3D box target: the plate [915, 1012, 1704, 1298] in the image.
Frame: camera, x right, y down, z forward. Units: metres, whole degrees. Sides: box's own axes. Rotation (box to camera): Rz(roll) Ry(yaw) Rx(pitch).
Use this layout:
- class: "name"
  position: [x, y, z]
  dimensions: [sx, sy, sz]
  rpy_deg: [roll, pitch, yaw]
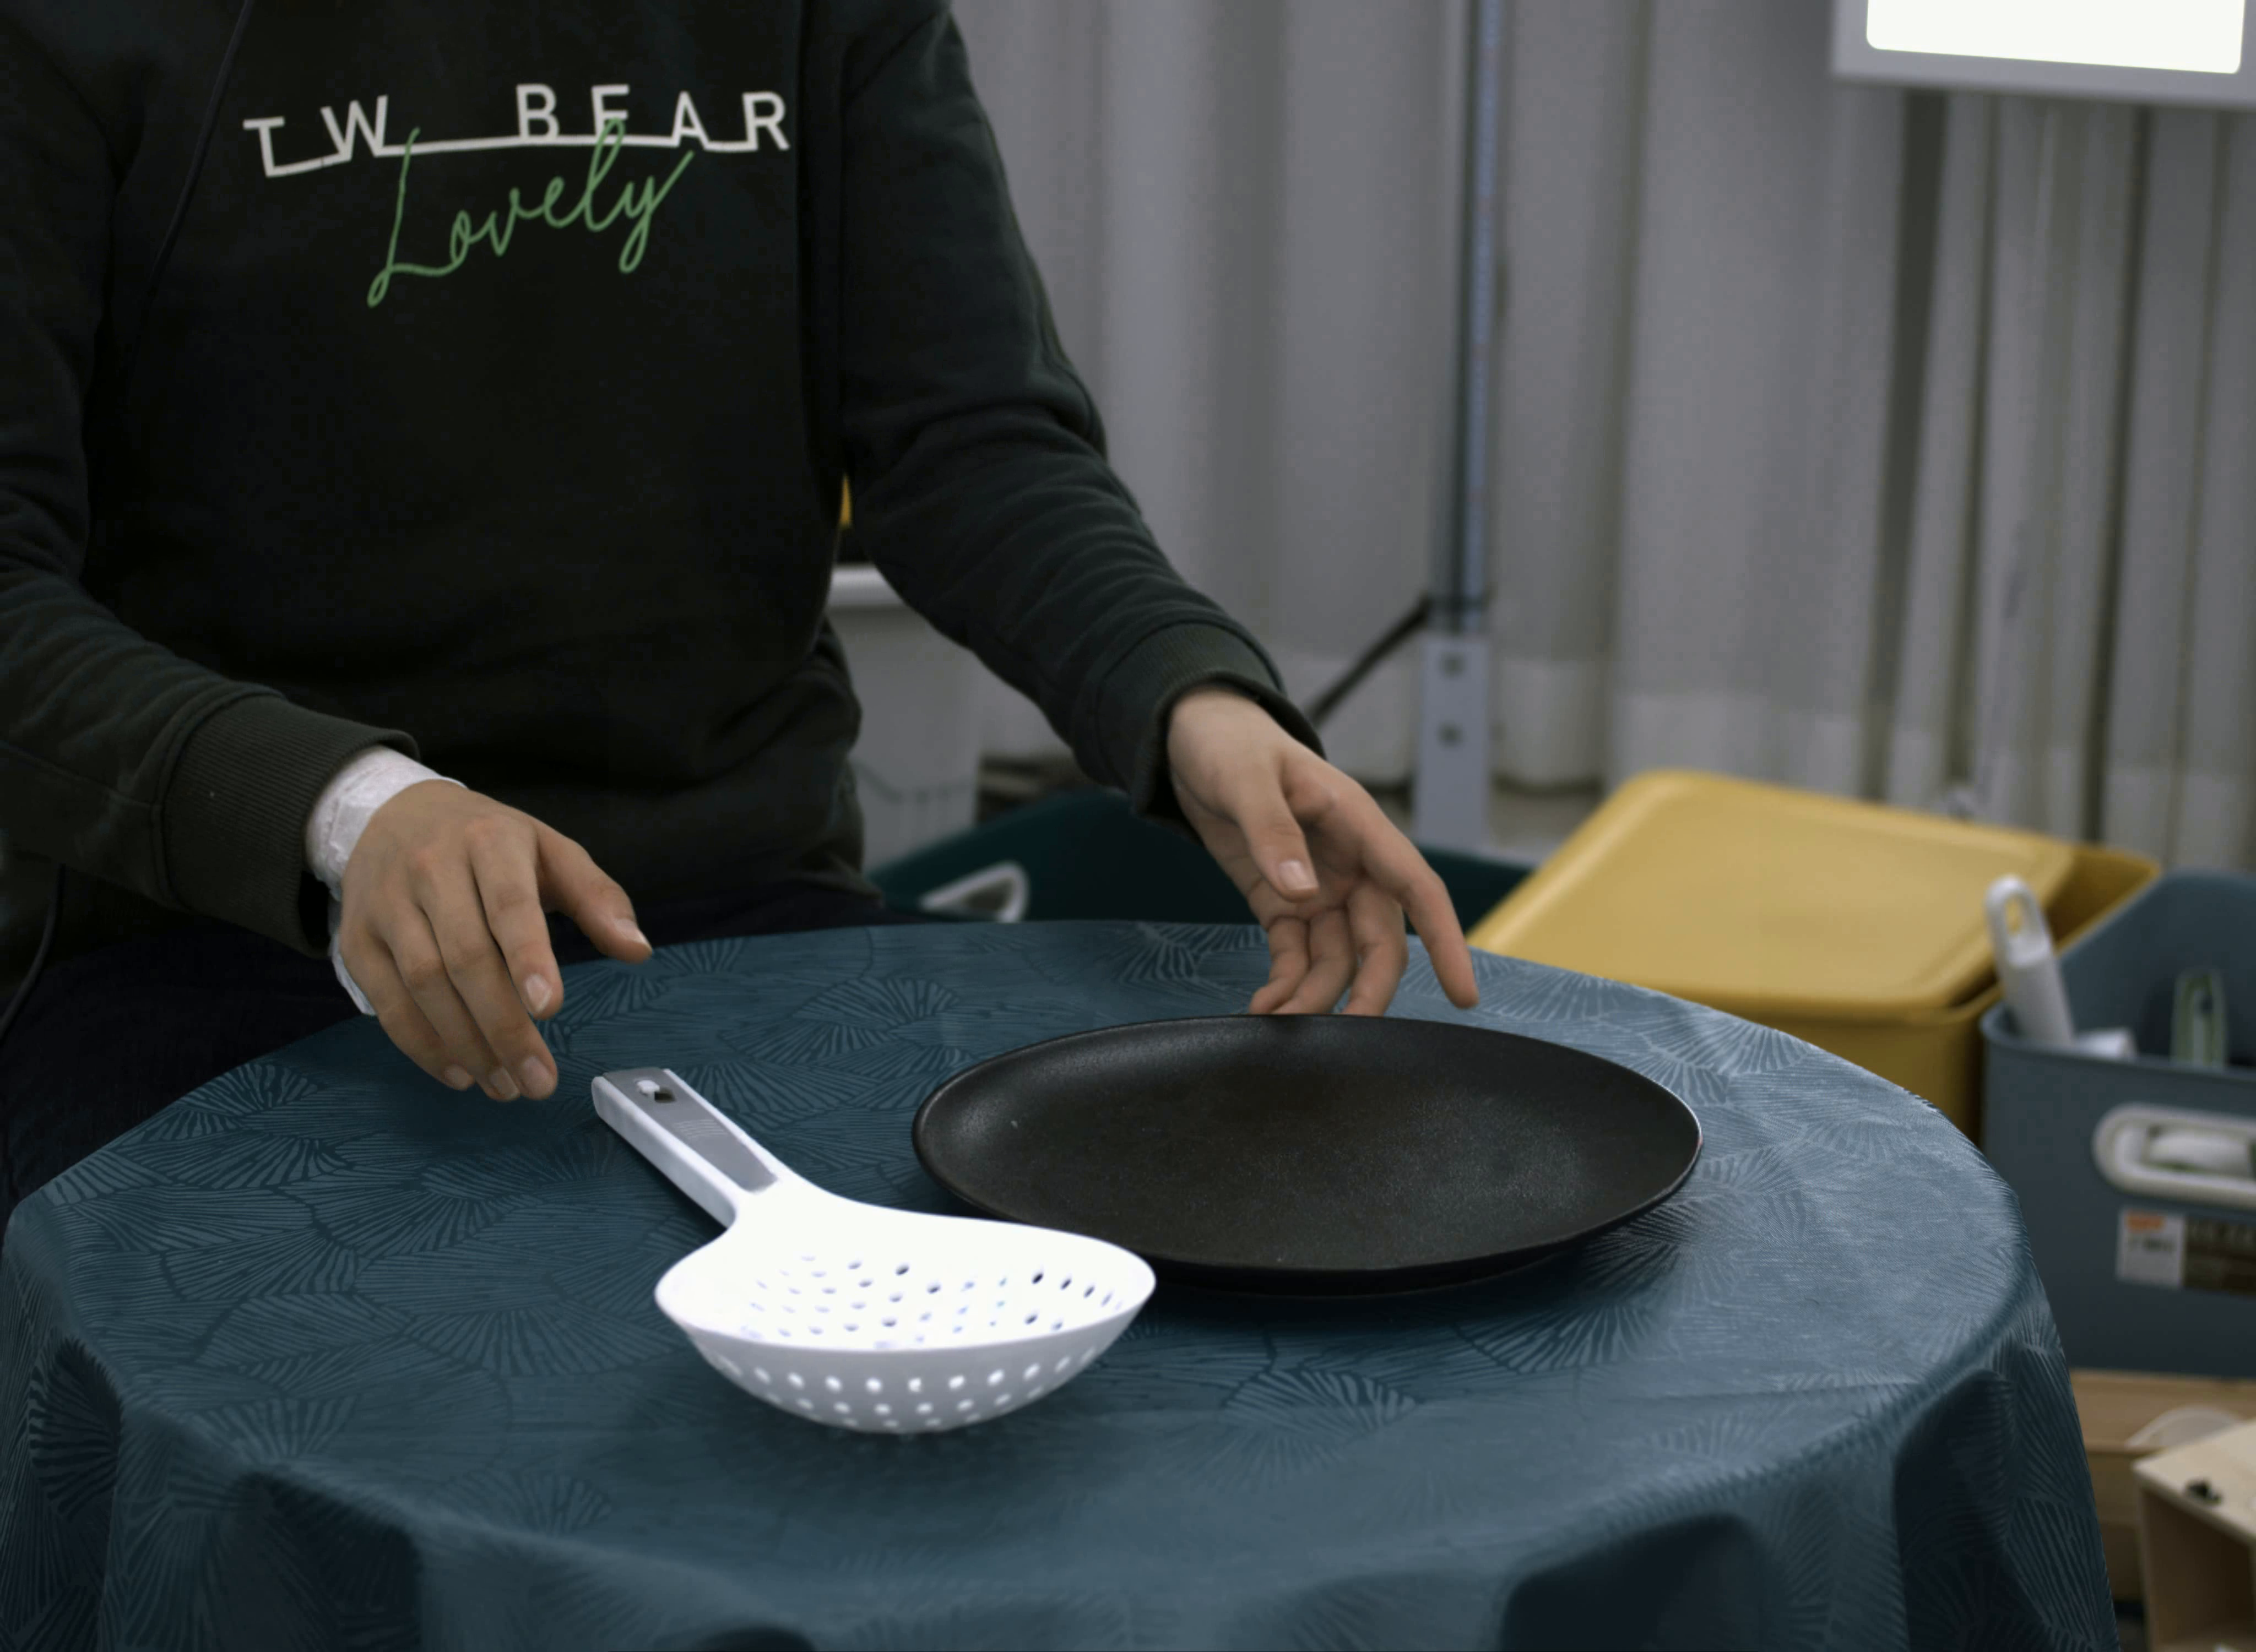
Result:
- class: "plate"
  position: [0.055, 0.103, 1.619]
  dimensions: [0.243, 0.023, 0.243]
  rpy_deg: [0, 16, 0]

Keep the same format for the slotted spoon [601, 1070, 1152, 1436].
- class: "slotted spoon"
  position: [-0.099, 0.114, 1.532]
  dimensions: [0.136, 0.046, 0.346]
  rpy_deg: [-3, 15, -20]
